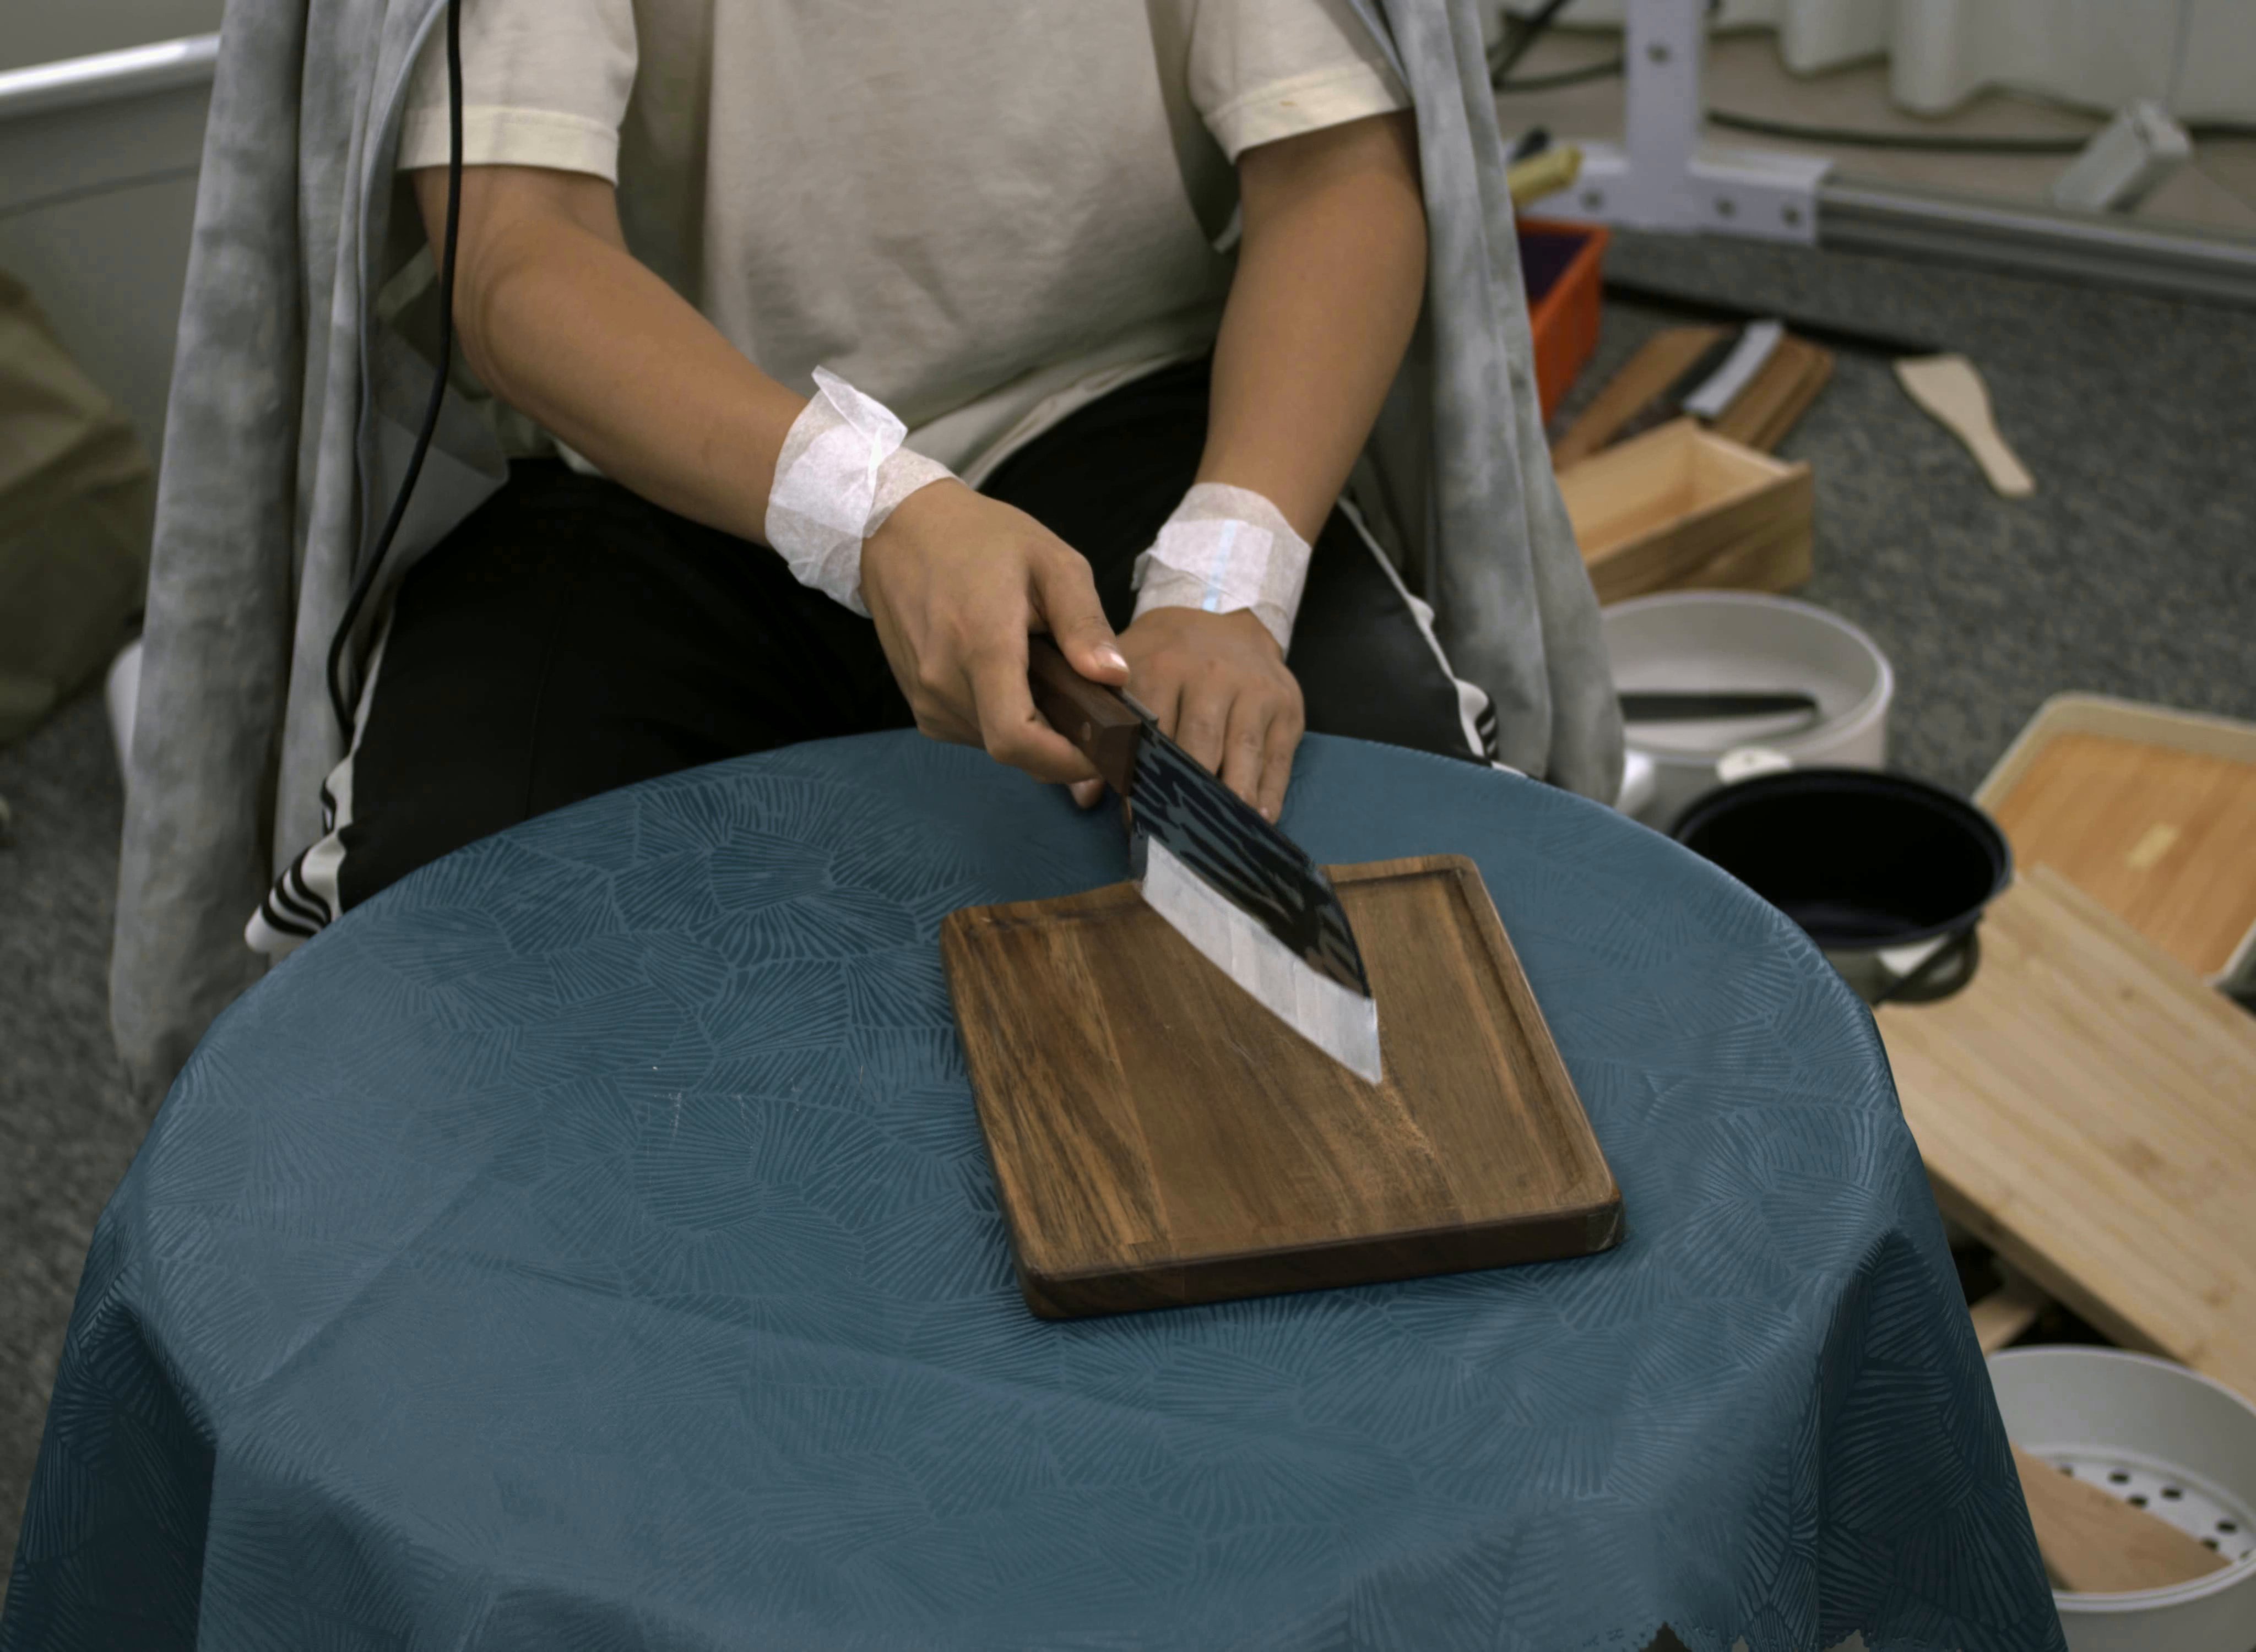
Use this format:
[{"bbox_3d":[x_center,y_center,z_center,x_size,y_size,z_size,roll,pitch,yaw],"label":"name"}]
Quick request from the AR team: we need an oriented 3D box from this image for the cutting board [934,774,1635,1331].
[{"bbox_3d":[0.040,0.063,1.951,0.200,0.023,0.356,-8,27,-6],"label":"cutting board"}]

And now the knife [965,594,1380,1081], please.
[{"bbox_3d":[0.015,0.001,1.964,0.024,0.067,0.301,-9,29,-26],"label":"knife"}]
